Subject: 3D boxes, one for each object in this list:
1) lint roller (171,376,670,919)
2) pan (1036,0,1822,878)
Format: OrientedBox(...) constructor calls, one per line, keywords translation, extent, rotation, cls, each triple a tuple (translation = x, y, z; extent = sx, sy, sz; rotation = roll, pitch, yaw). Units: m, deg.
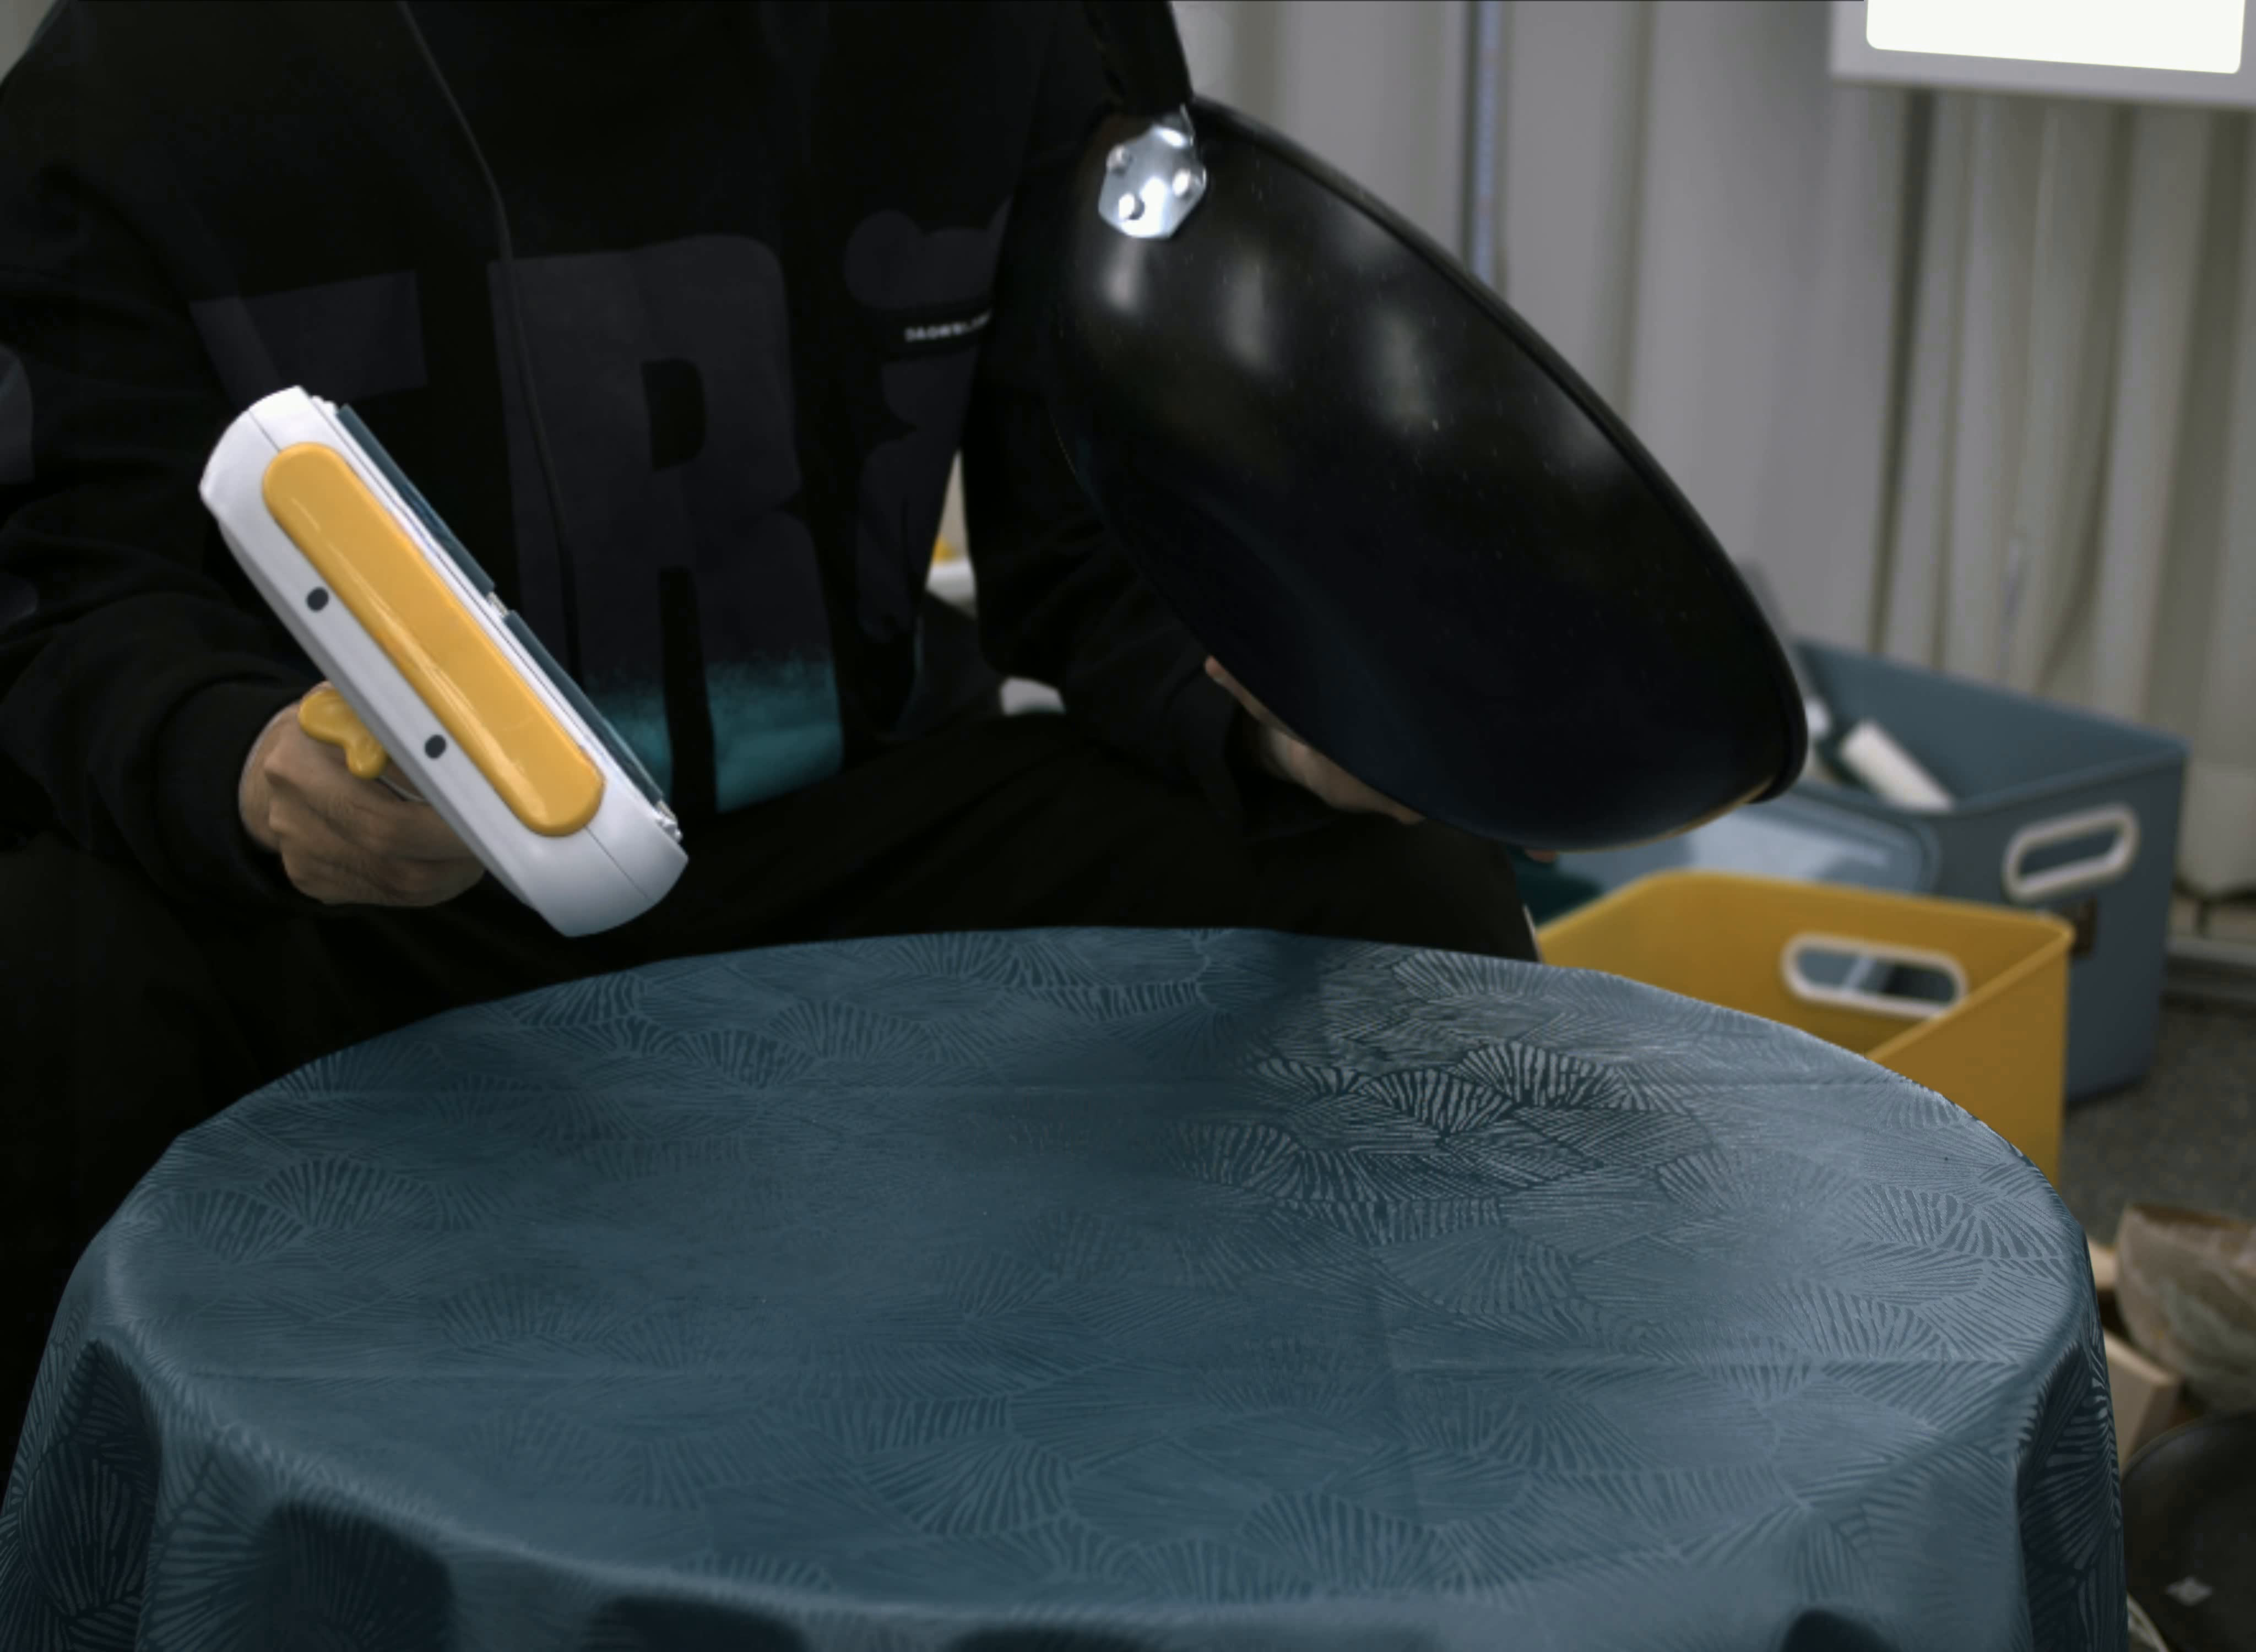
OrientedBox(translation=(-0.216, -0.032, 1.623), extent=(0.192, 0.074, 0.193), rotation=(44, -12, 11), cls="lint roller")
OrientedBox(translation=(0.040, -0.147, 1.614), extent=(0.111, 0.483, 0.306), rotation=(-46, 36, -13), cls="pan")
